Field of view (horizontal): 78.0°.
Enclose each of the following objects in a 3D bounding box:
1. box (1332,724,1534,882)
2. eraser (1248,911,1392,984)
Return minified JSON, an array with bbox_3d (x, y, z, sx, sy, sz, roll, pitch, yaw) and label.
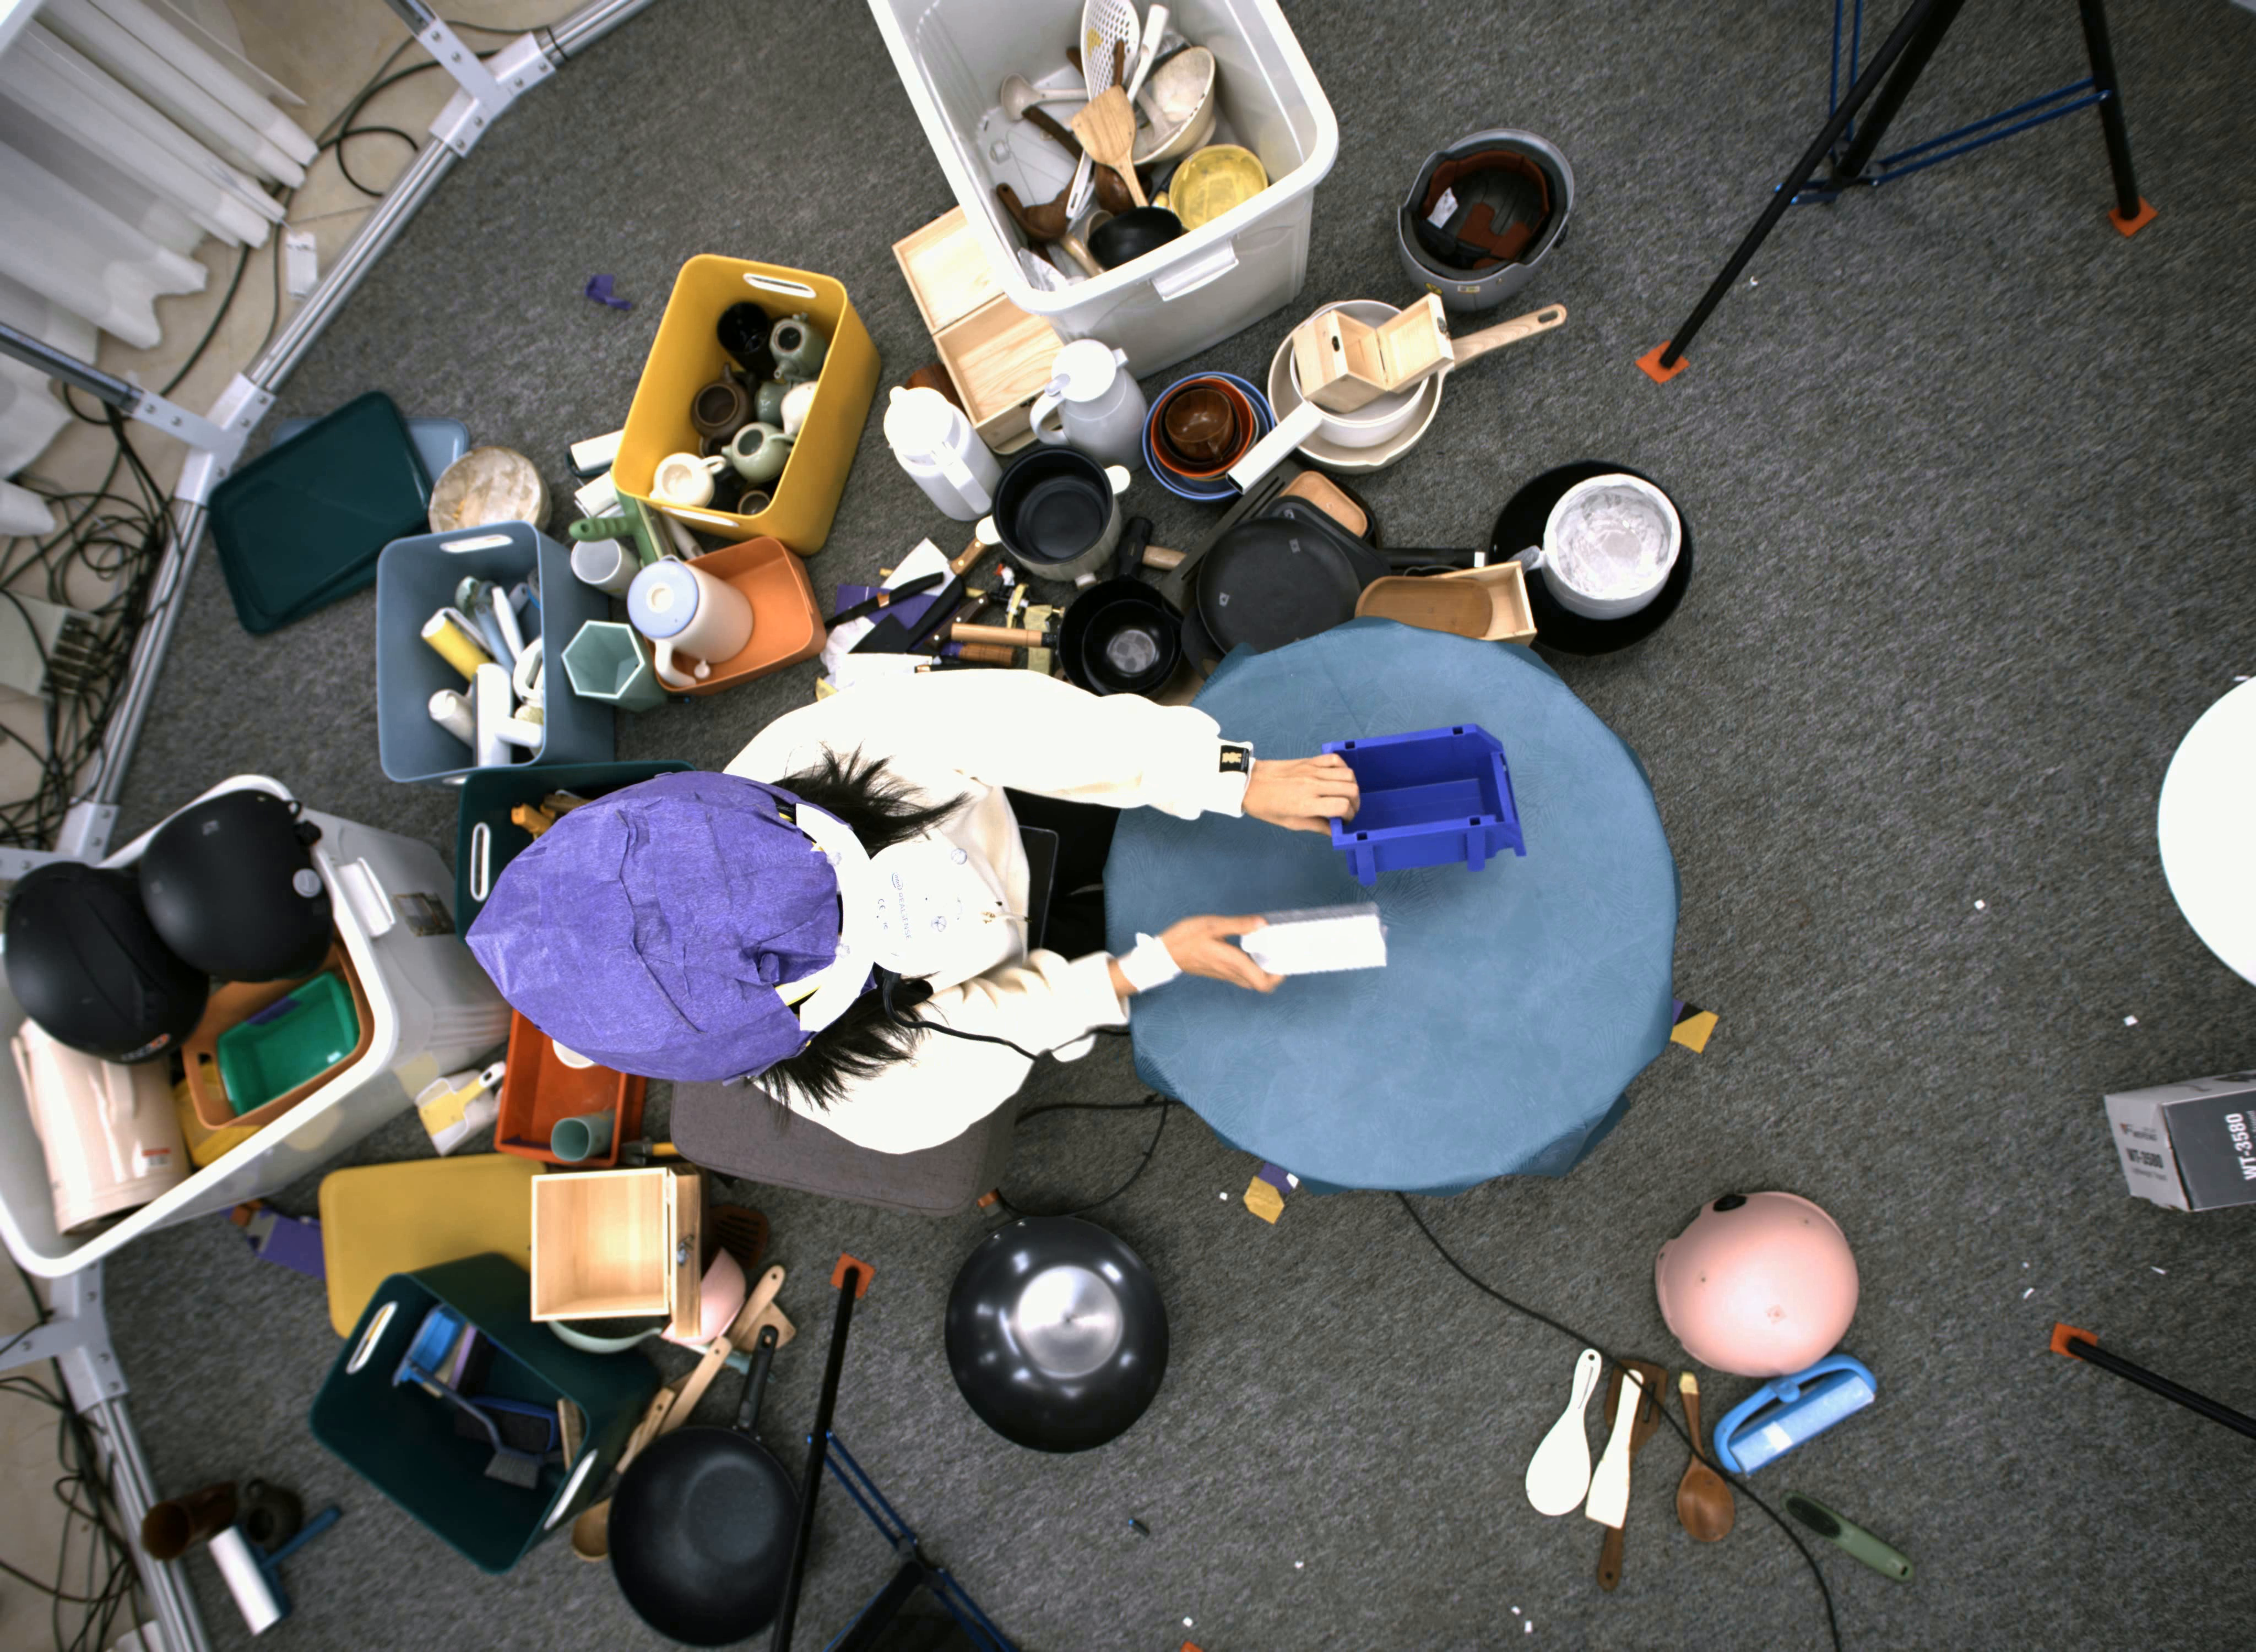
[{"bbox_3d":[0.296,-0.026,1.338,0.180,0.083,0.121,-7,58,13],"label":"box"},{"bbox_3d":[0.191,0.119,1.379,0.135,0.051,0.045,-10,43,19],"label":"eraser"}]
